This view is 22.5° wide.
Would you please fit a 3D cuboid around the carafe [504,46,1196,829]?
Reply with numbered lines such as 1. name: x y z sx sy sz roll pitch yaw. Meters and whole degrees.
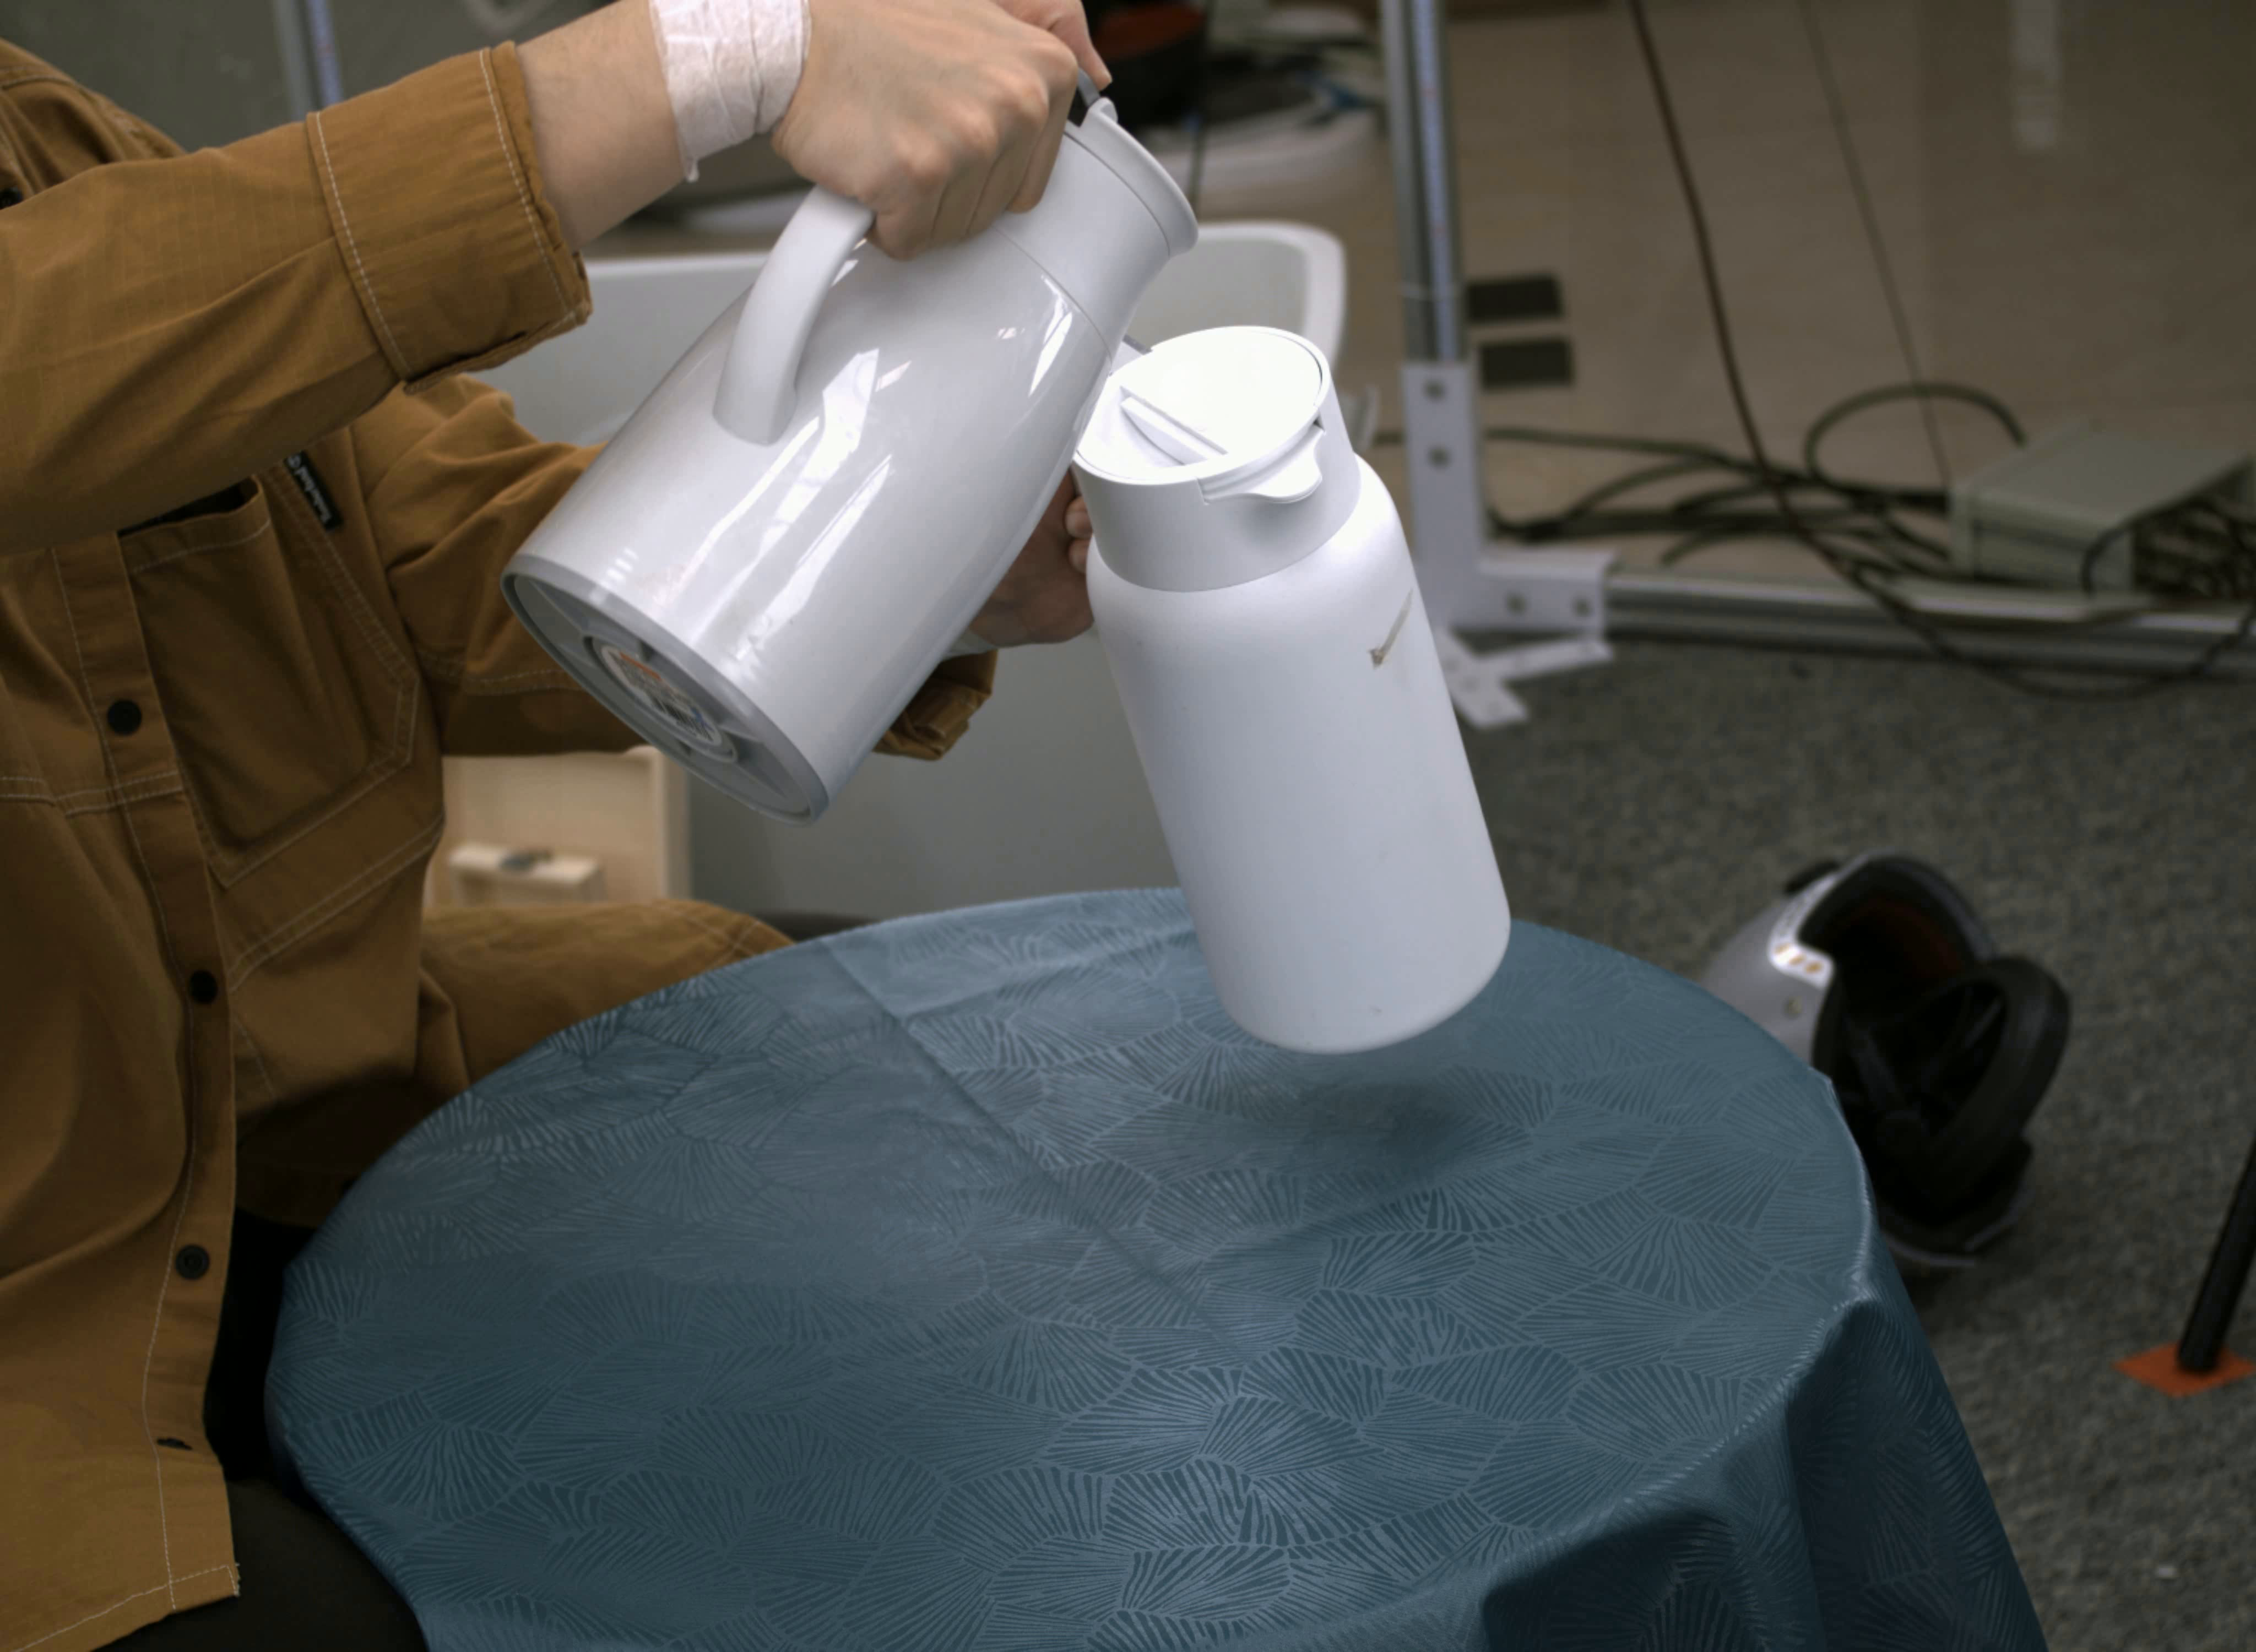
1. carafe: -0.085 -0.143 1.870 0.131 0.170 0.247 32 77 25

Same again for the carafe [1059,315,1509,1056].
1. carafe: 0.047 -0.055 2.101 0.123 0.274 0.170 -34 39 -17
